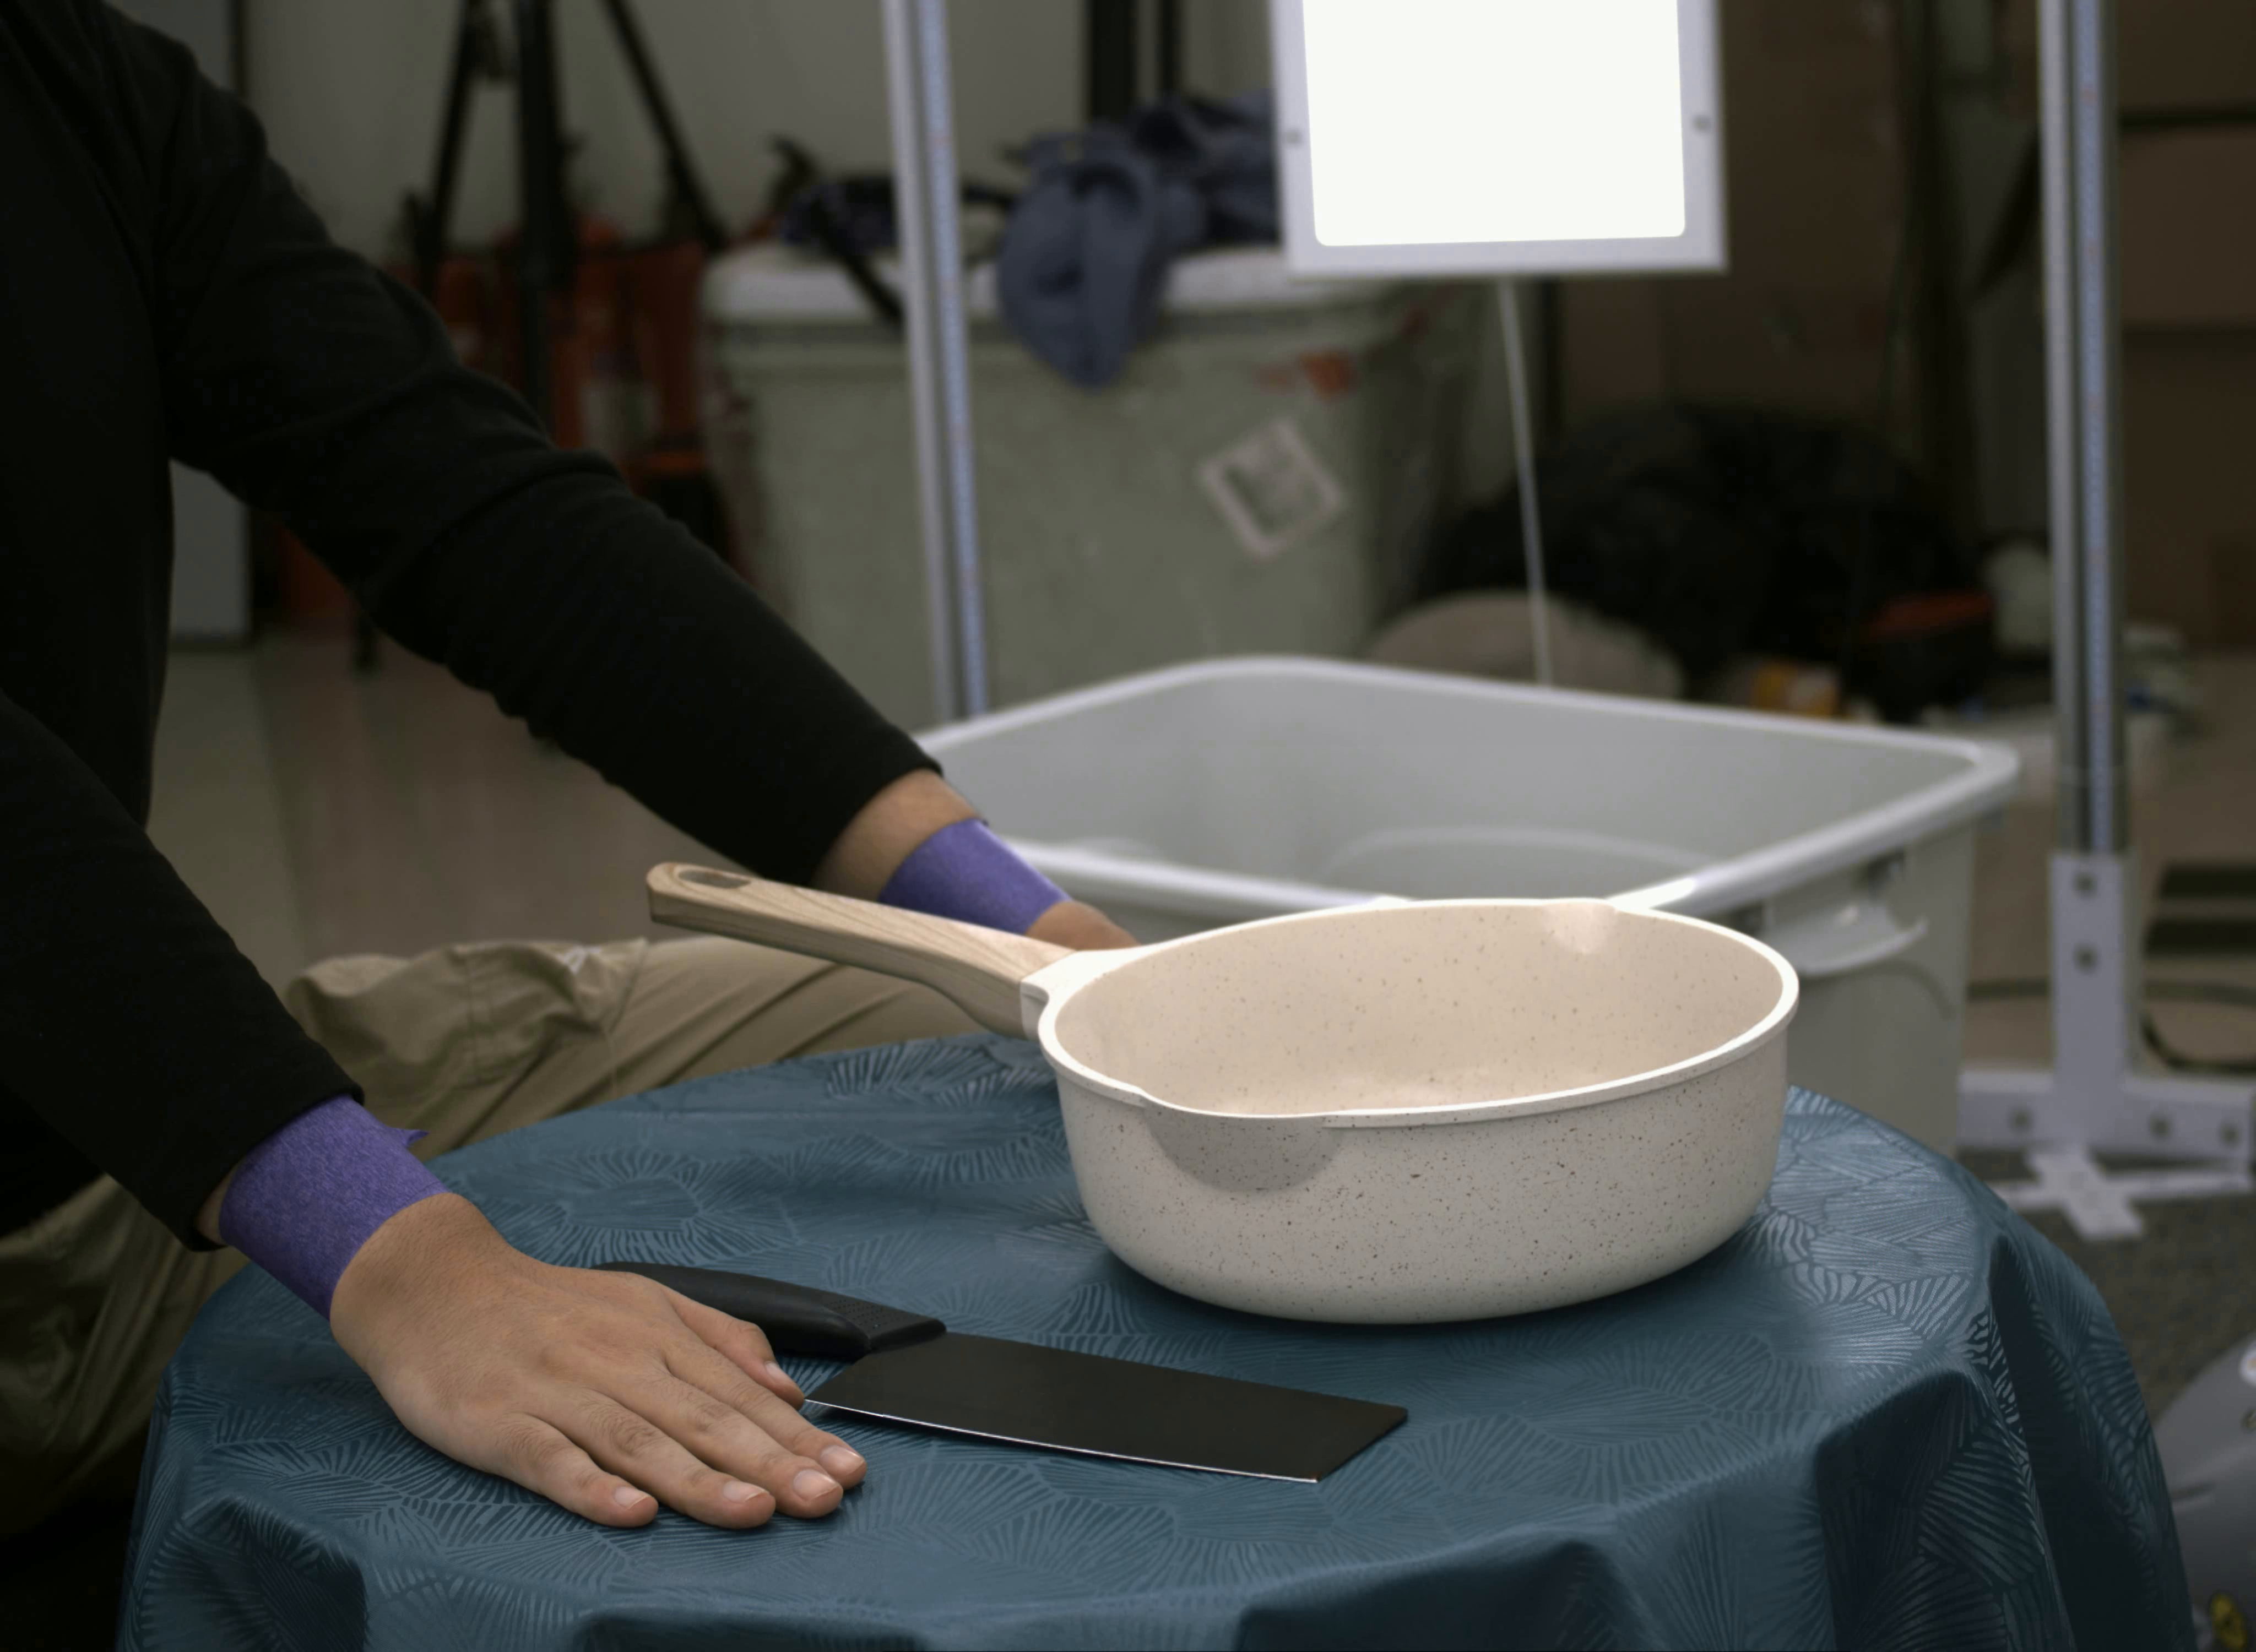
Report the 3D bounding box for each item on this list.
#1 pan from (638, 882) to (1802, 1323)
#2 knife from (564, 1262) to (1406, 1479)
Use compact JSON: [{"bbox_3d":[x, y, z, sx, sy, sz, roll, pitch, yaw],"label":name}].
[{"bbox_3d":[0.020,0.081,1.869,0.443,0.102,0.257,4,18,32],"label":"pan"},{"bbox_3d":[-0.055,0.170,1.717,0.308,0.021,0.079,8,19,37],"label":"knife"}]
